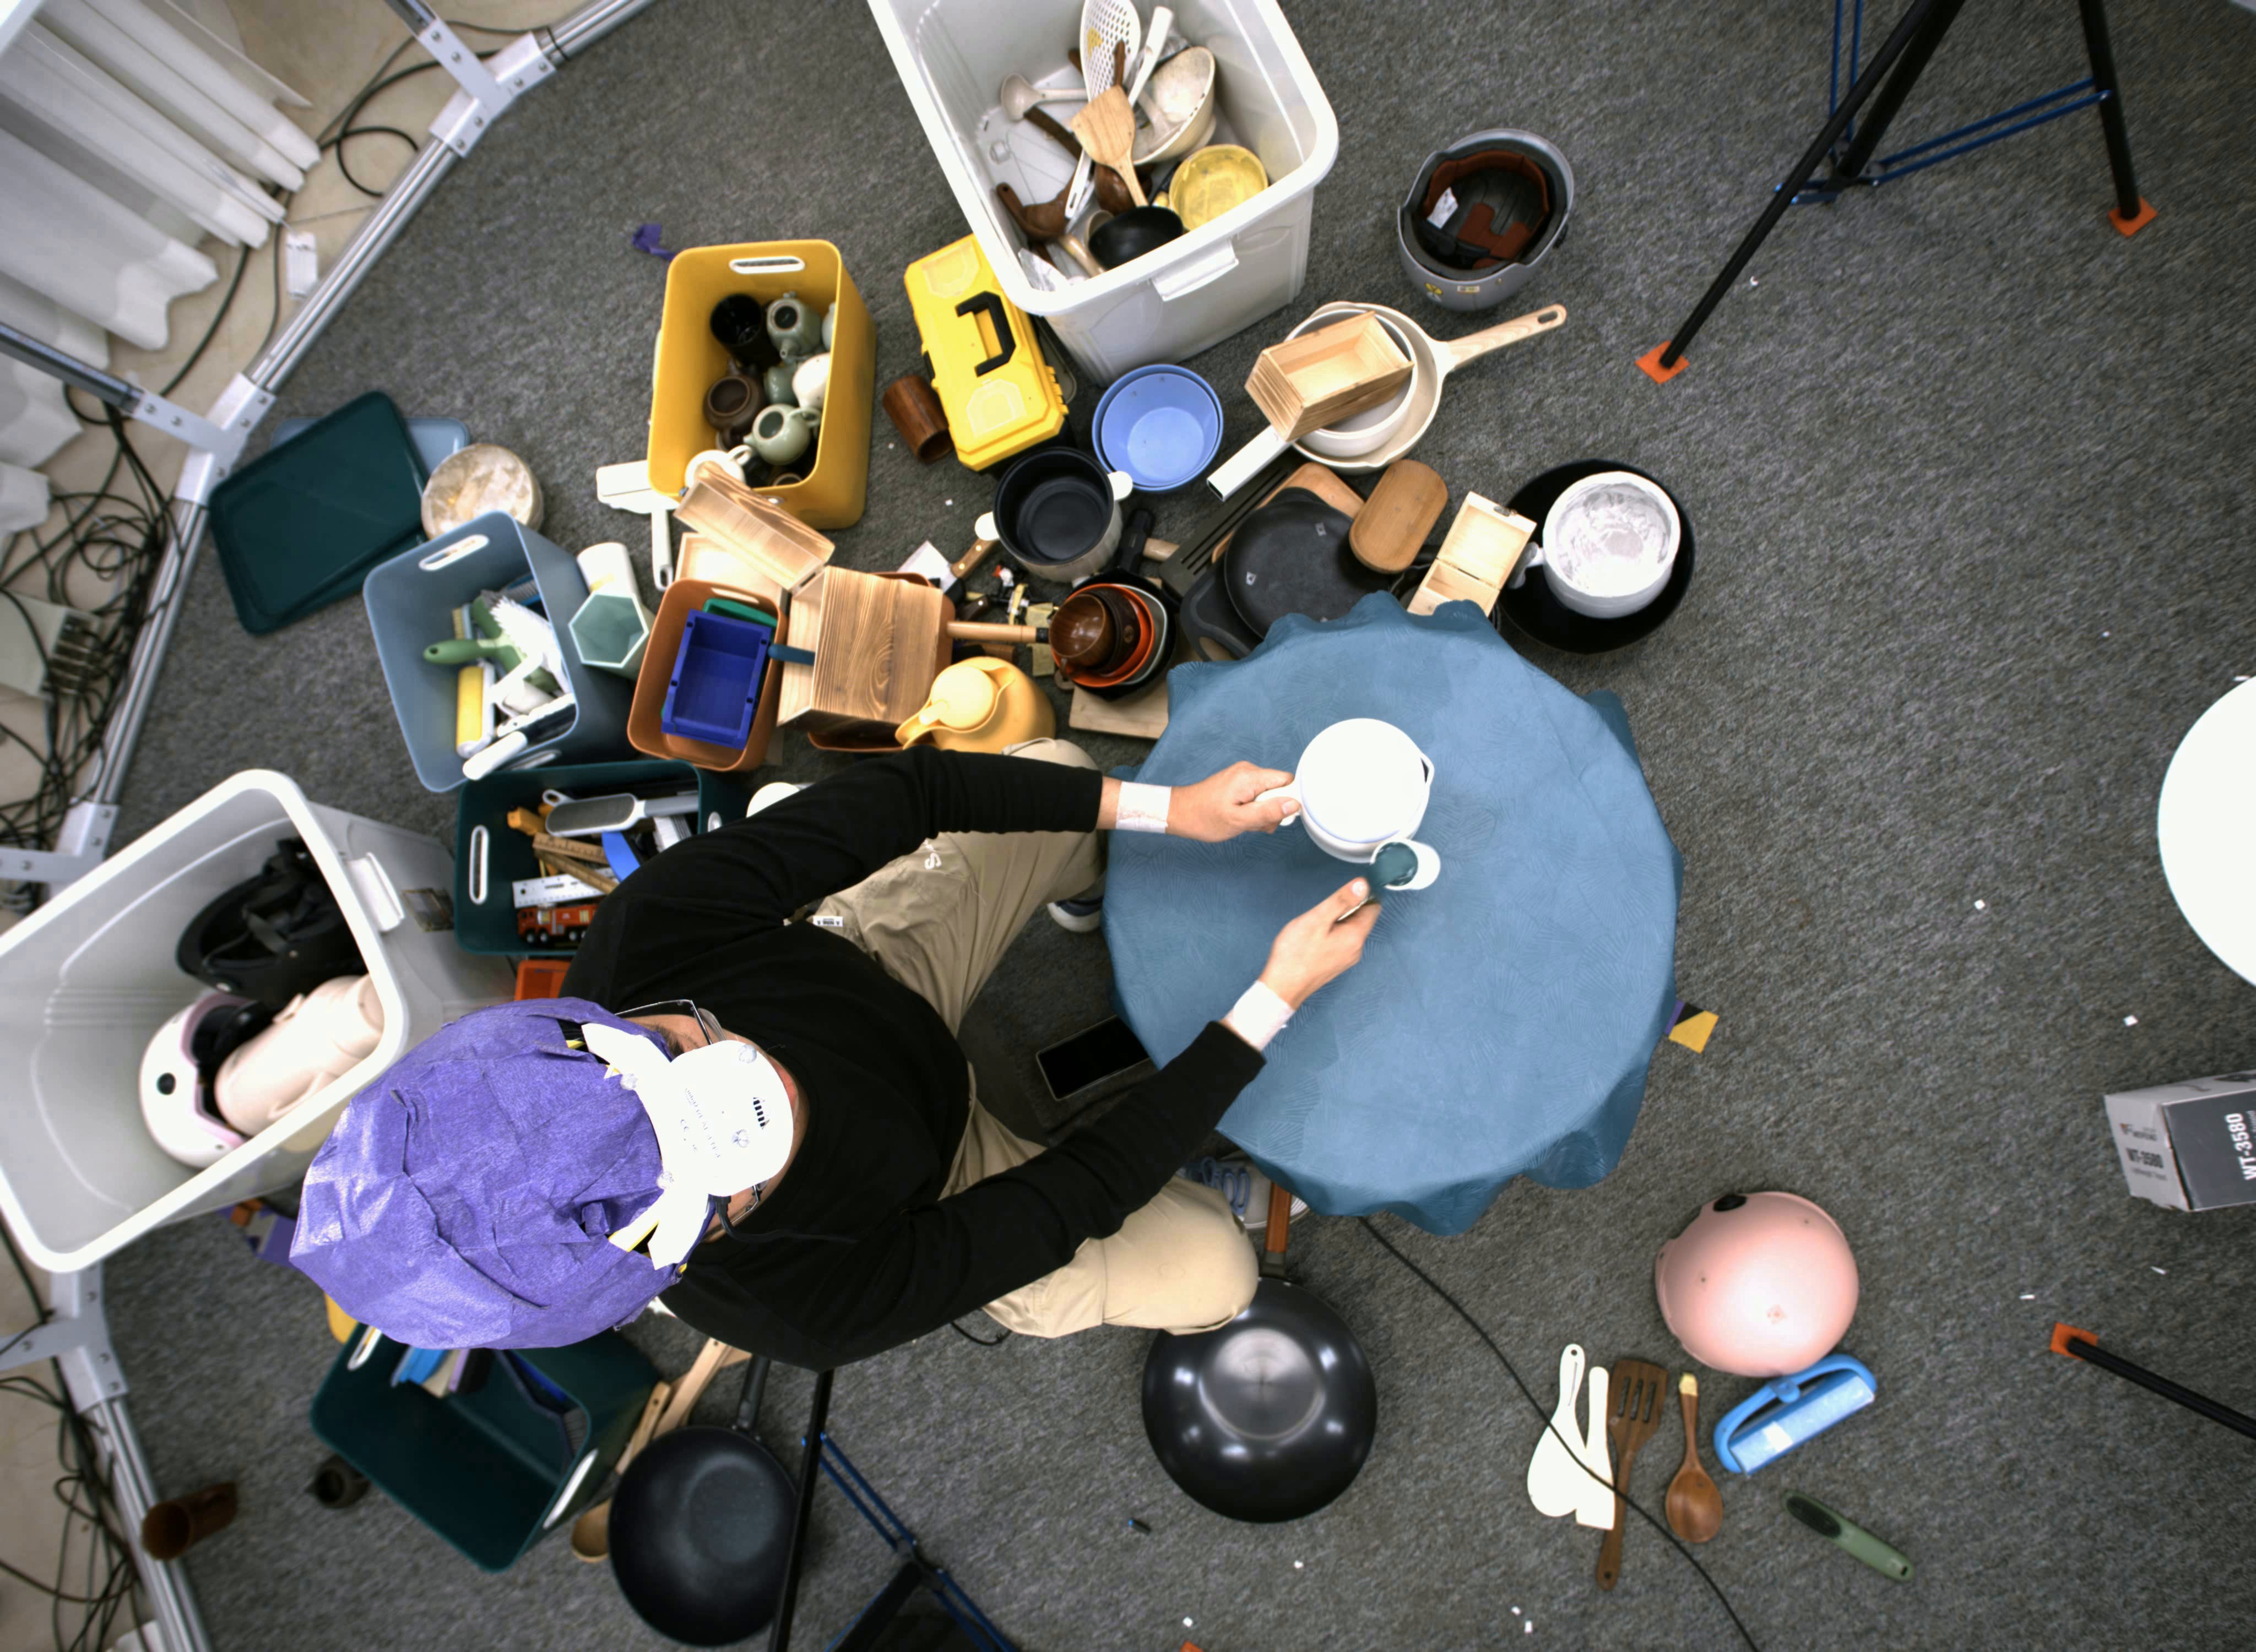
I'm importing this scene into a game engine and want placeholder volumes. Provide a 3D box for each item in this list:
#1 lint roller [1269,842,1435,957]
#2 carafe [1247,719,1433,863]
[{"bbox_3d":[0.216,0.084,1.342,0.182,0.133,0.048,-44,73,17],"label":"lint roller"},{"bbox_3d":[0.211,-0.029,1.390,0.192,0.182,0.131,-13,82,11],"label":"carafe"}]
